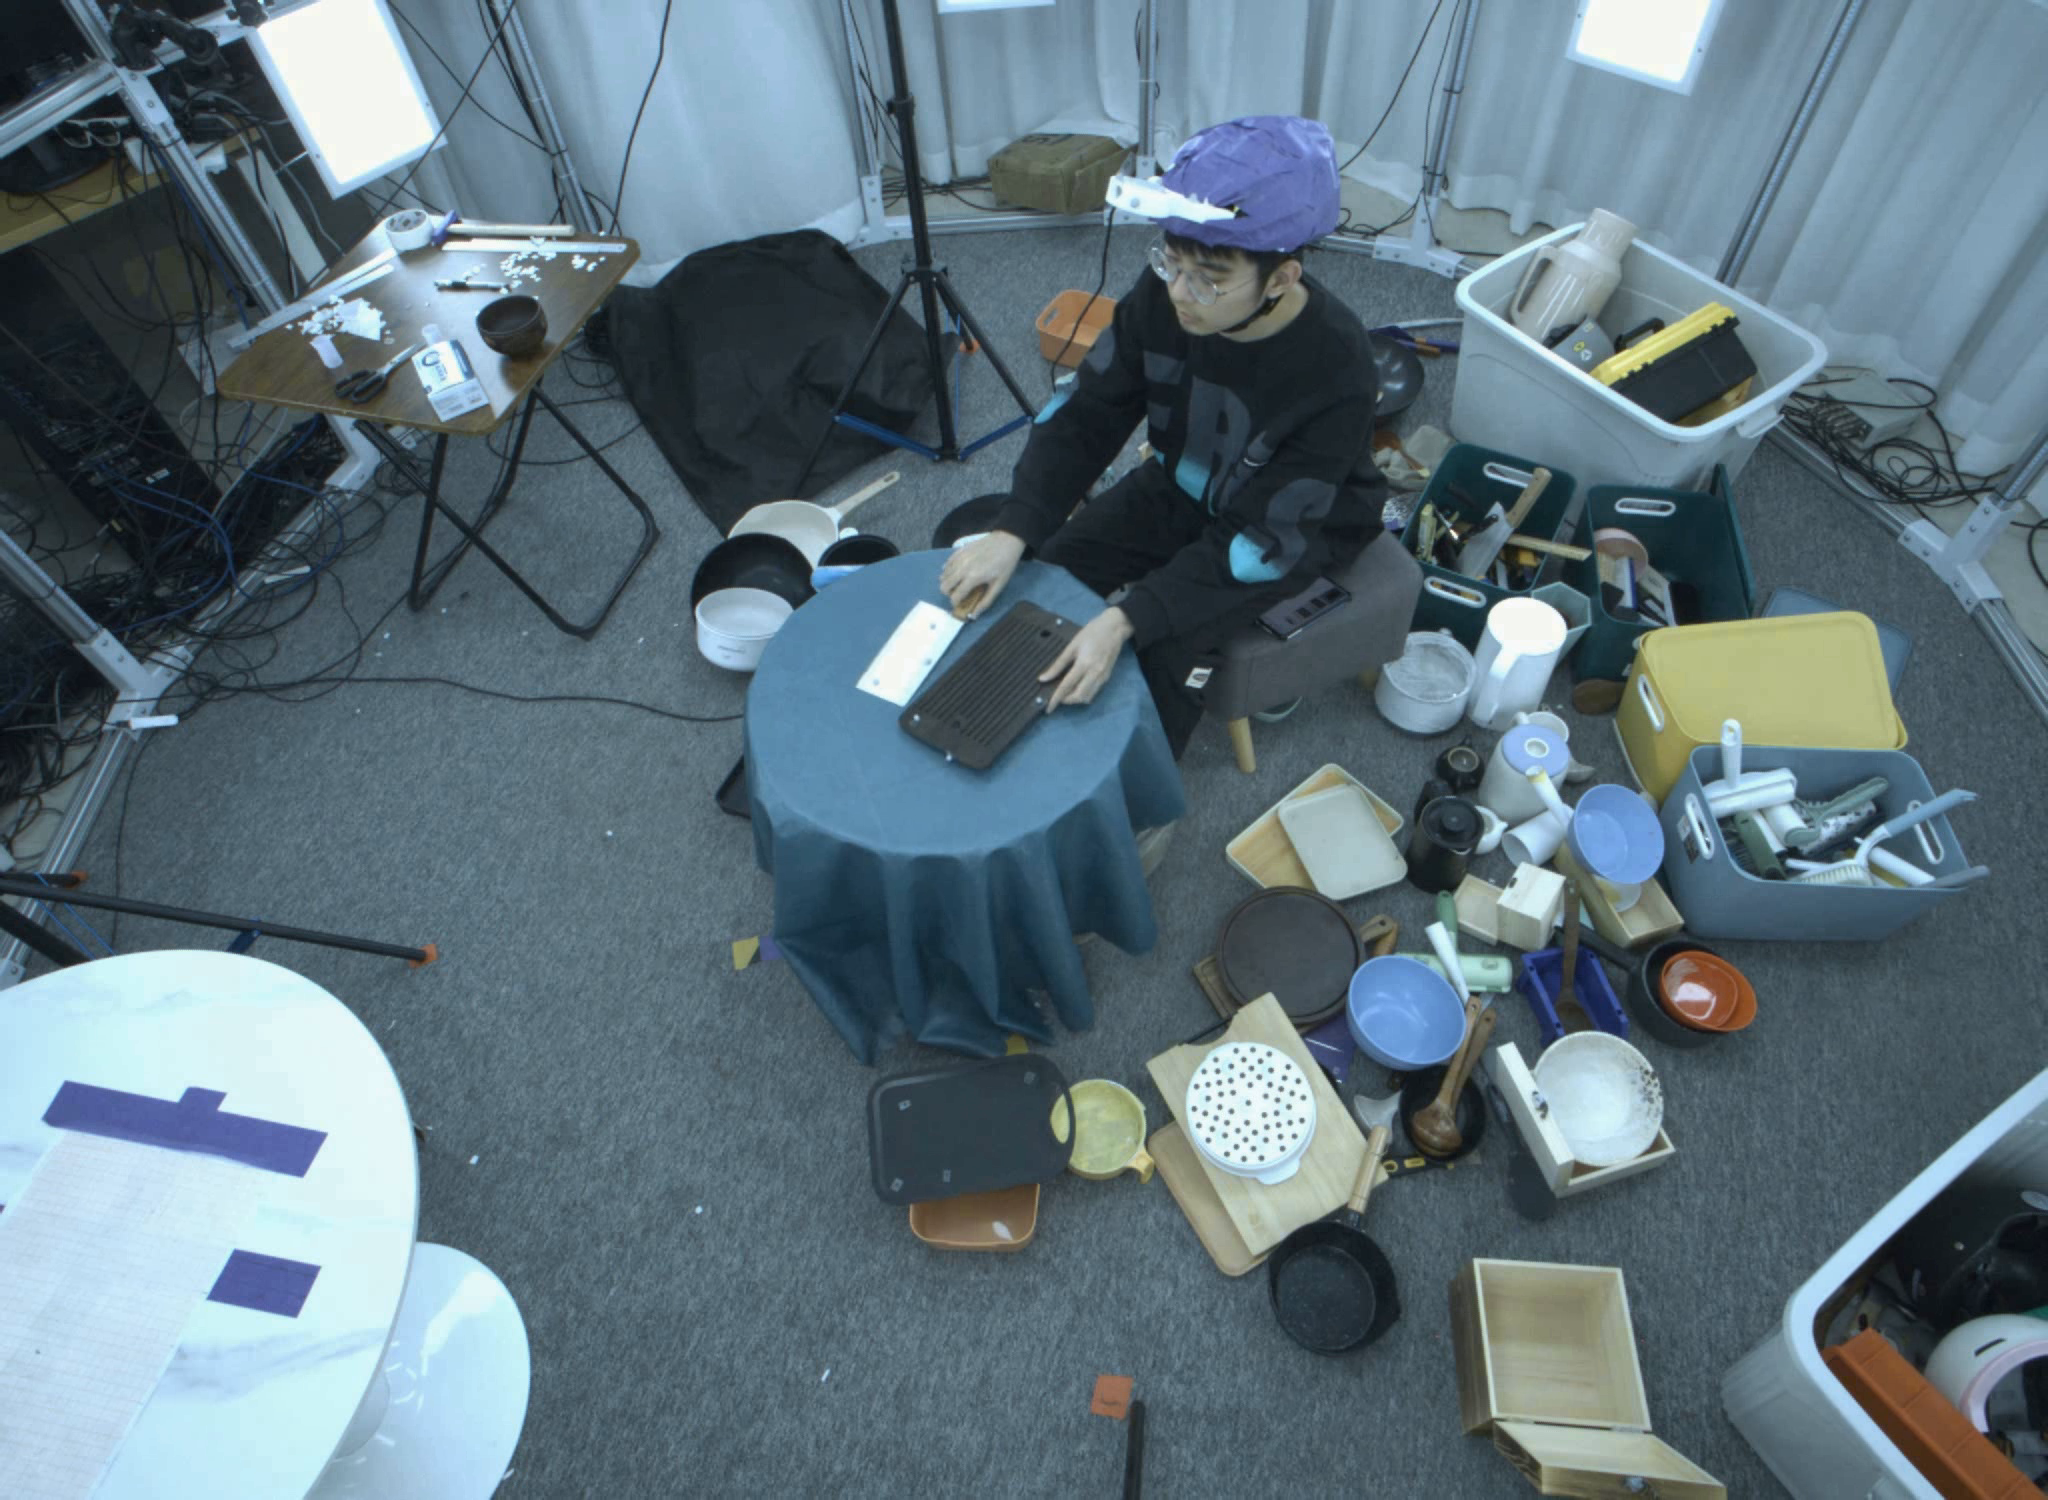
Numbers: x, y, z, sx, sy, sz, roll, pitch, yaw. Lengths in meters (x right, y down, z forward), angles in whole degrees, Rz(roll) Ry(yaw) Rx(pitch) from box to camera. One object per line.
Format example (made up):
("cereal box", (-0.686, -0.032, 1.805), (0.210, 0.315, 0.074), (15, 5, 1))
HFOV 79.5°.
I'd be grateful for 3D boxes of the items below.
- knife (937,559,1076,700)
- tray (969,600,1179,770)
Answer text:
("knife", (-0.030, -0.200, 1.918), (0.091, 0.021, 0.306), (27, 63, 21))
("tray", (0.076, -0.100, 1.838), (0.167, 0.019, 0.308), (34, 63, 28))
